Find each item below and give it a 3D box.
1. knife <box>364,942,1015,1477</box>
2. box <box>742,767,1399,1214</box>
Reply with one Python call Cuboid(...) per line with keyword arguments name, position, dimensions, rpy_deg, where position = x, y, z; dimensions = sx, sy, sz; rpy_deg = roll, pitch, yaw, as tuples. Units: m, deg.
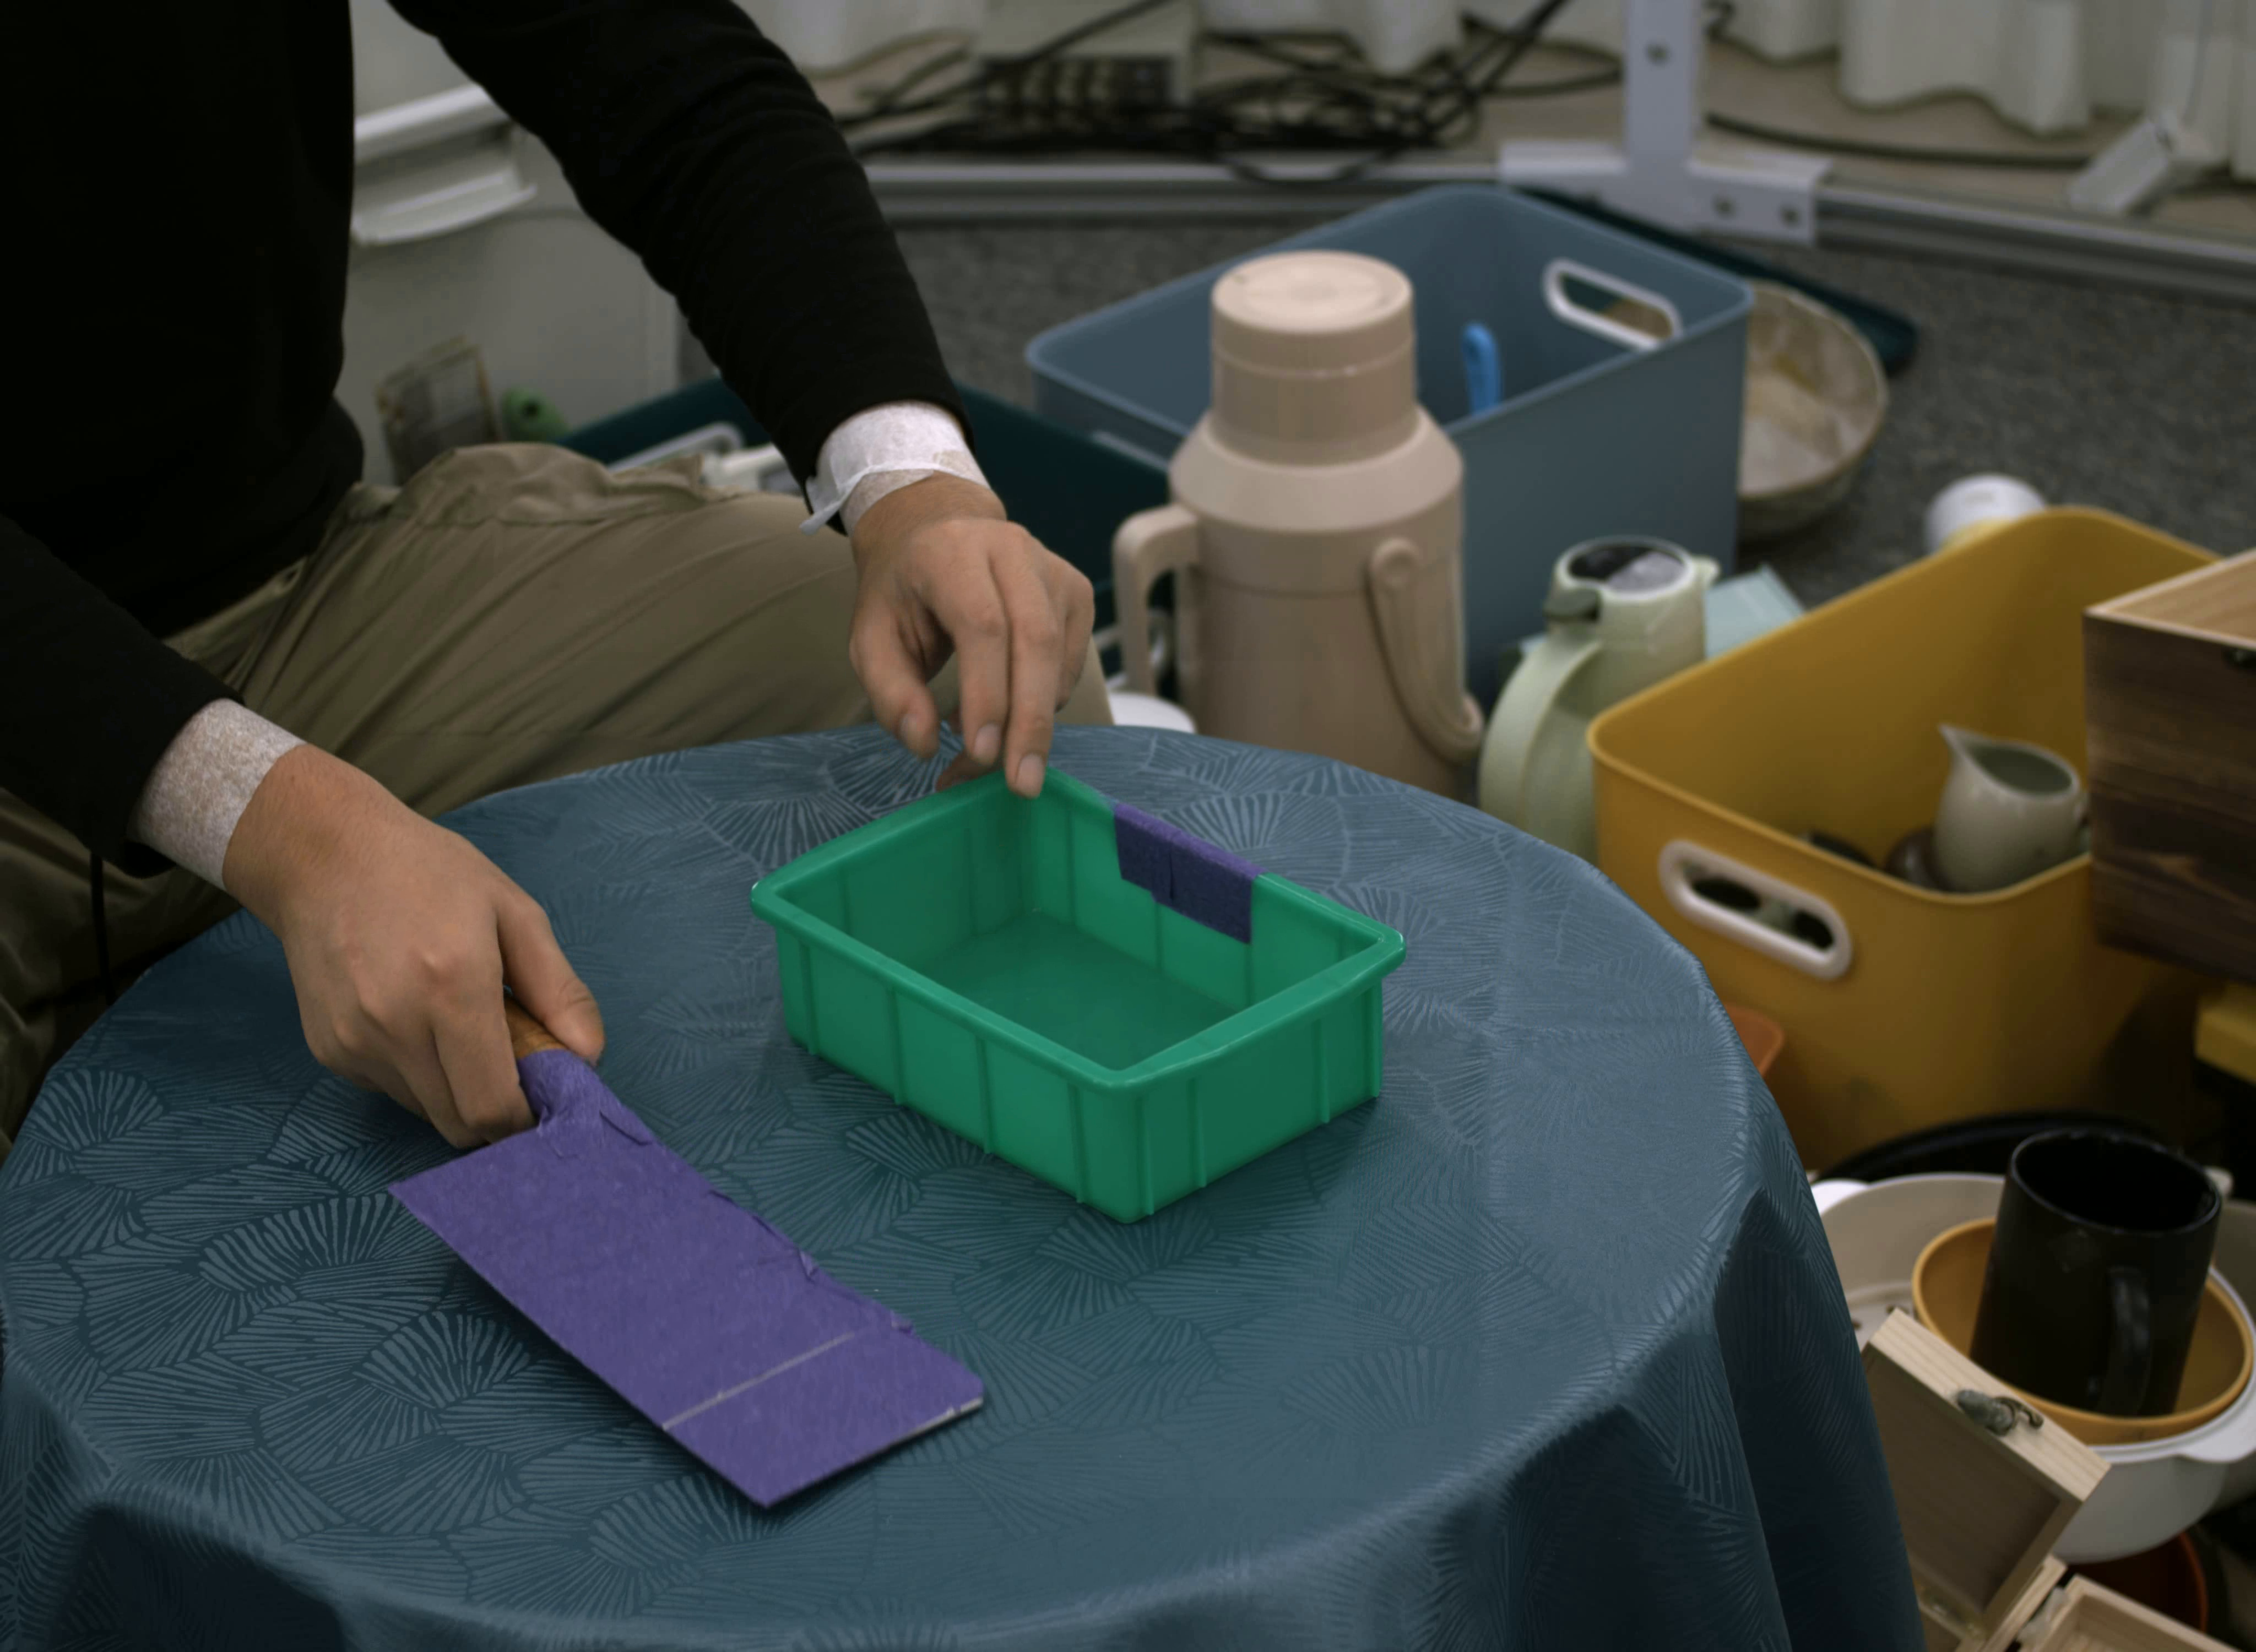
Cuboid(name="knife", position=(-0.173, 0.121, 1.819), dimensions=(0.105, 0.032, 0.315), rpy_deg=(-20, 35, -36))
Cuboid(name="box", position=(-0.019, 0.056, 1.923), dimensions=(0.140, 0.064, 0.210), rpy_deg=(-24, 32, -37))
